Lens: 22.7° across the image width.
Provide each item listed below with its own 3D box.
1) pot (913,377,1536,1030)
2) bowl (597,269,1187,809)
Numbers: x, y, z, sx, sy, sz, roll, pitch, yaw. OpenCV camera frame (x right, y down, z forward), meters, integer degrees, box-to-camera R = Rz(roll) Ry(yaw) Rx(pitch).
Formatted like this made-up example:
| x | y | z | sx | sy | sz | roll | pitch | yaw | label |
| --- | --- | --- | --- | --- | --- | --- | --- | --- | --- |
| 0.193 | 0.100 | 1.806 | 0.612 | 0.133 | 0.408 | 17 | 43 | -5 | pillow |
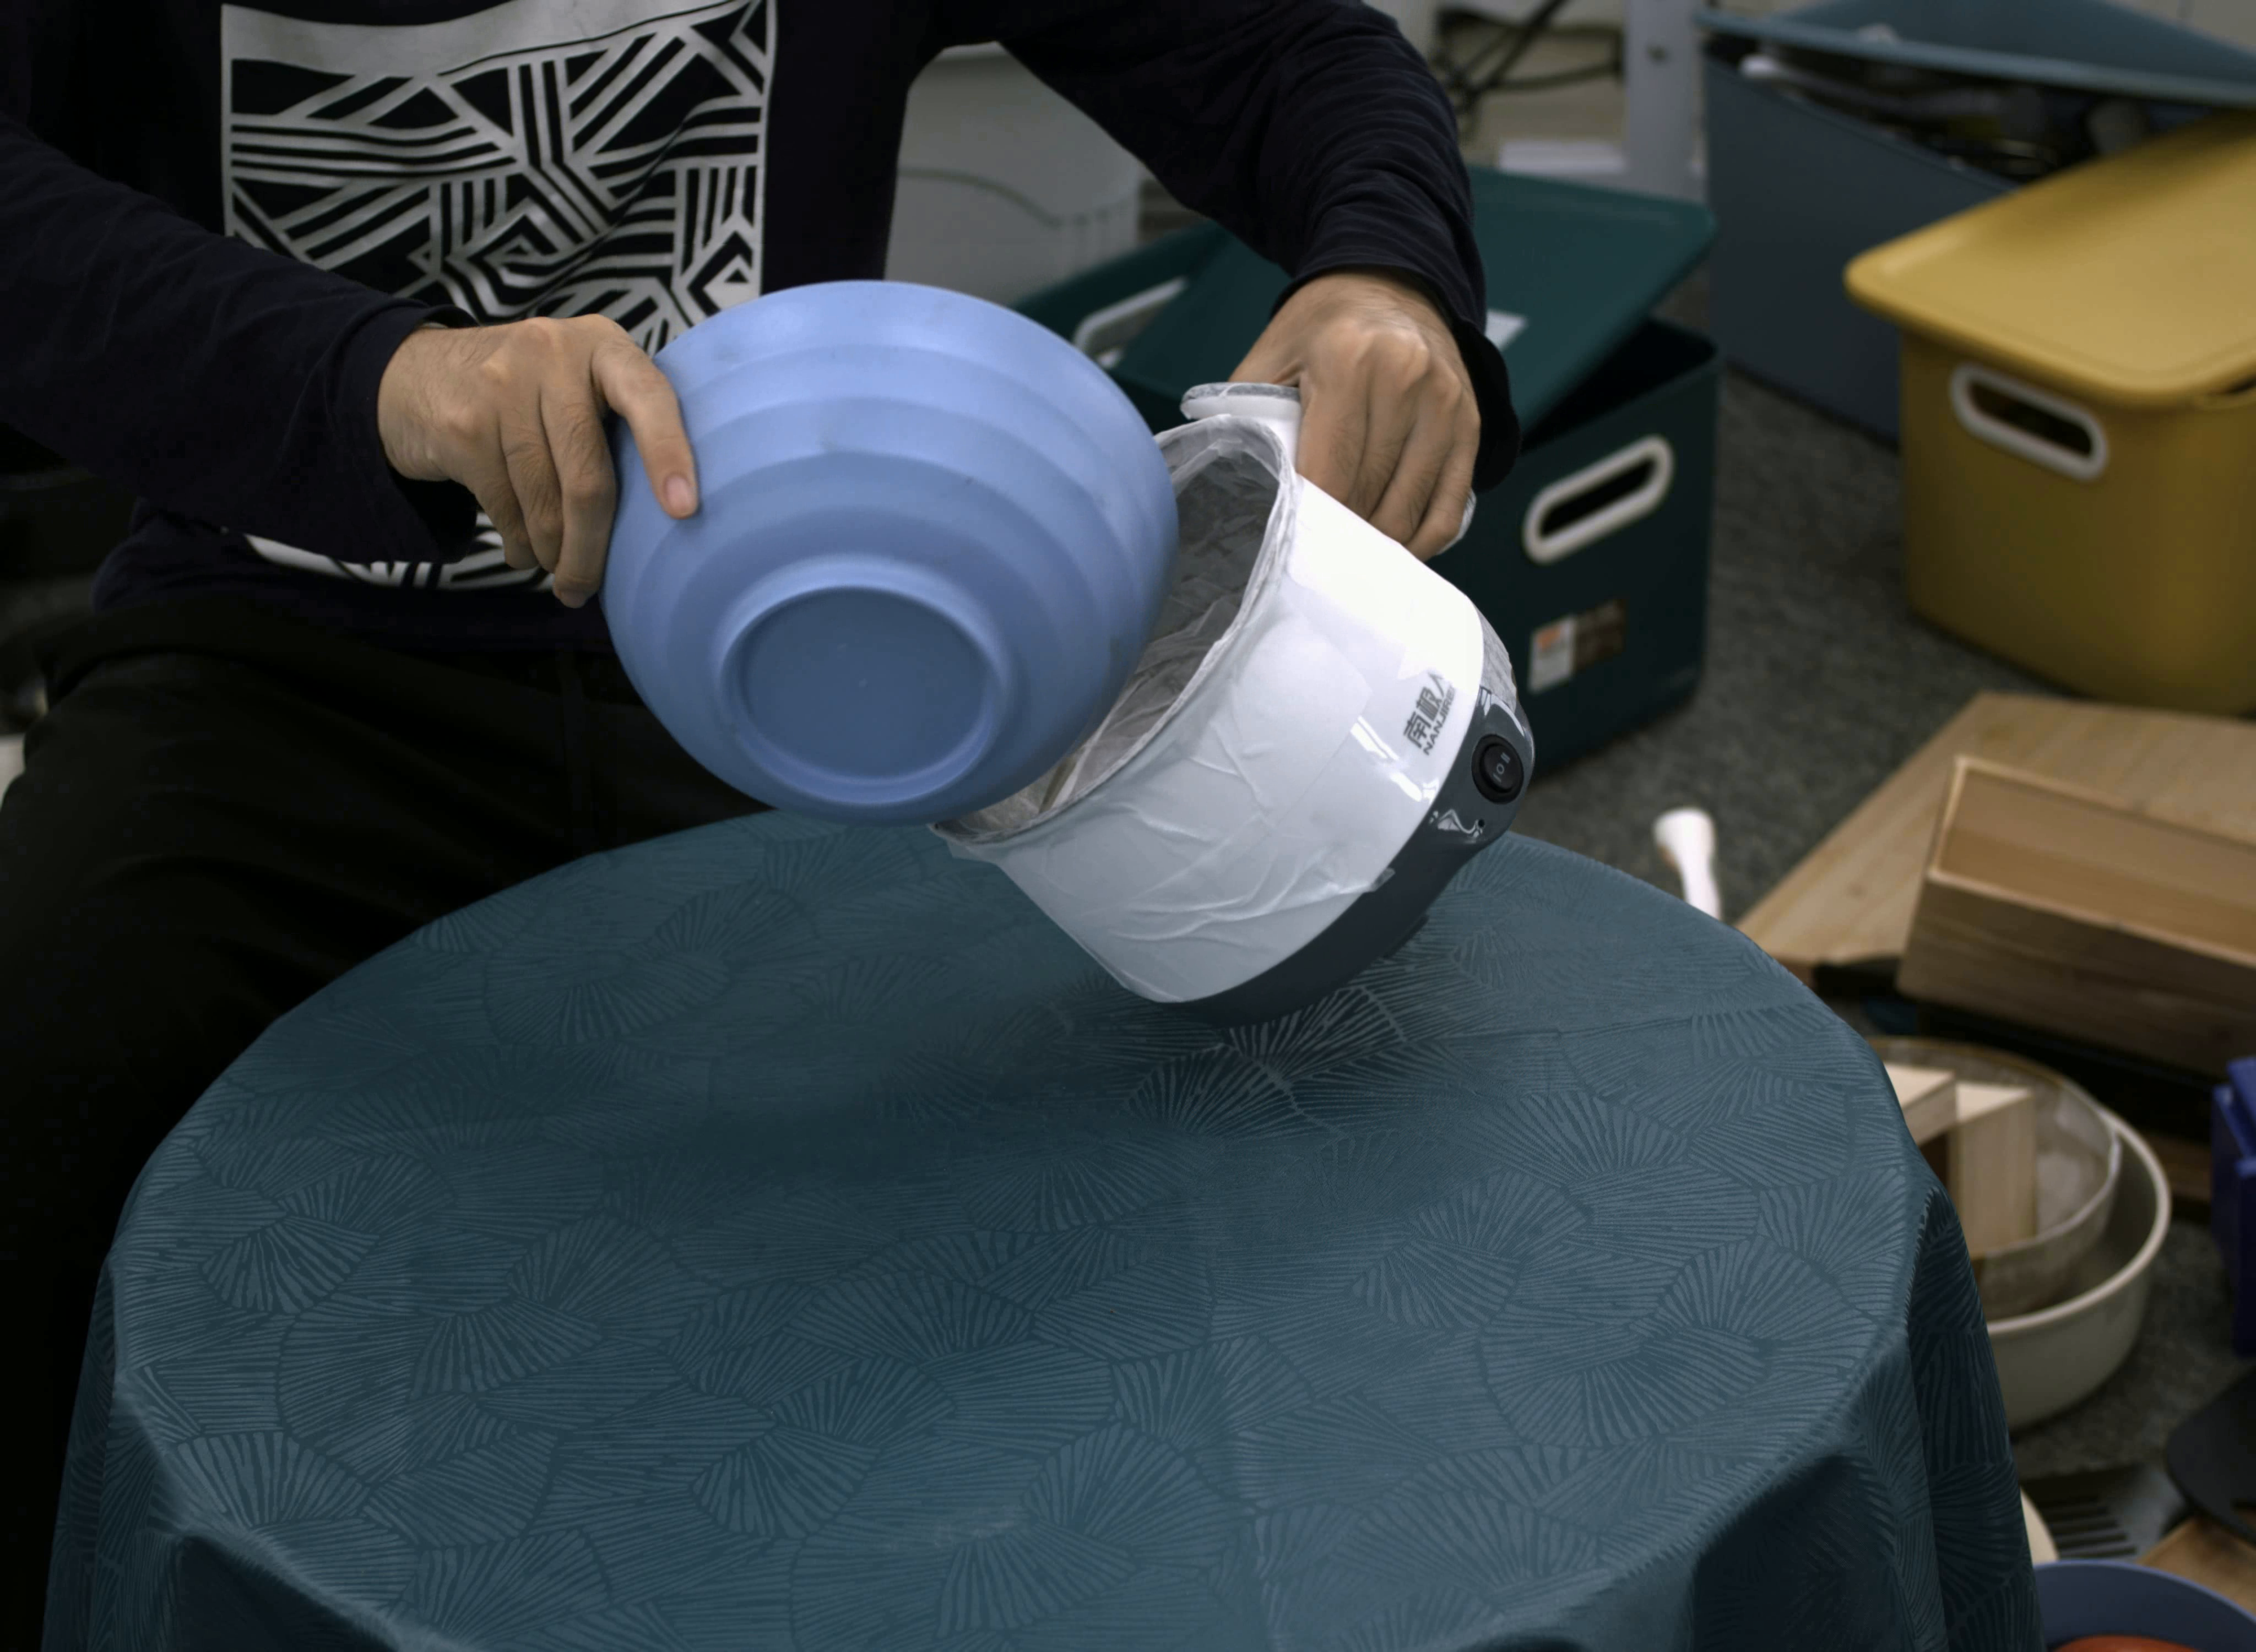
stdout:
| x | y | z | sx | sy | sz | roll | pitch | yaw | label |
| --- | --- | --- | --- | --- | --- | --- | --- | --- | --- |
| 0.042 | -0.053 | 1.923 | 0.176 | 0.136 | 0.238 | -16 | 42 | 45 | pot |
| -0.081 | -0.075 | 1.828 | 0.195 | 0.193 | 0.097 | 0 | 42 | 4 | bowl |
